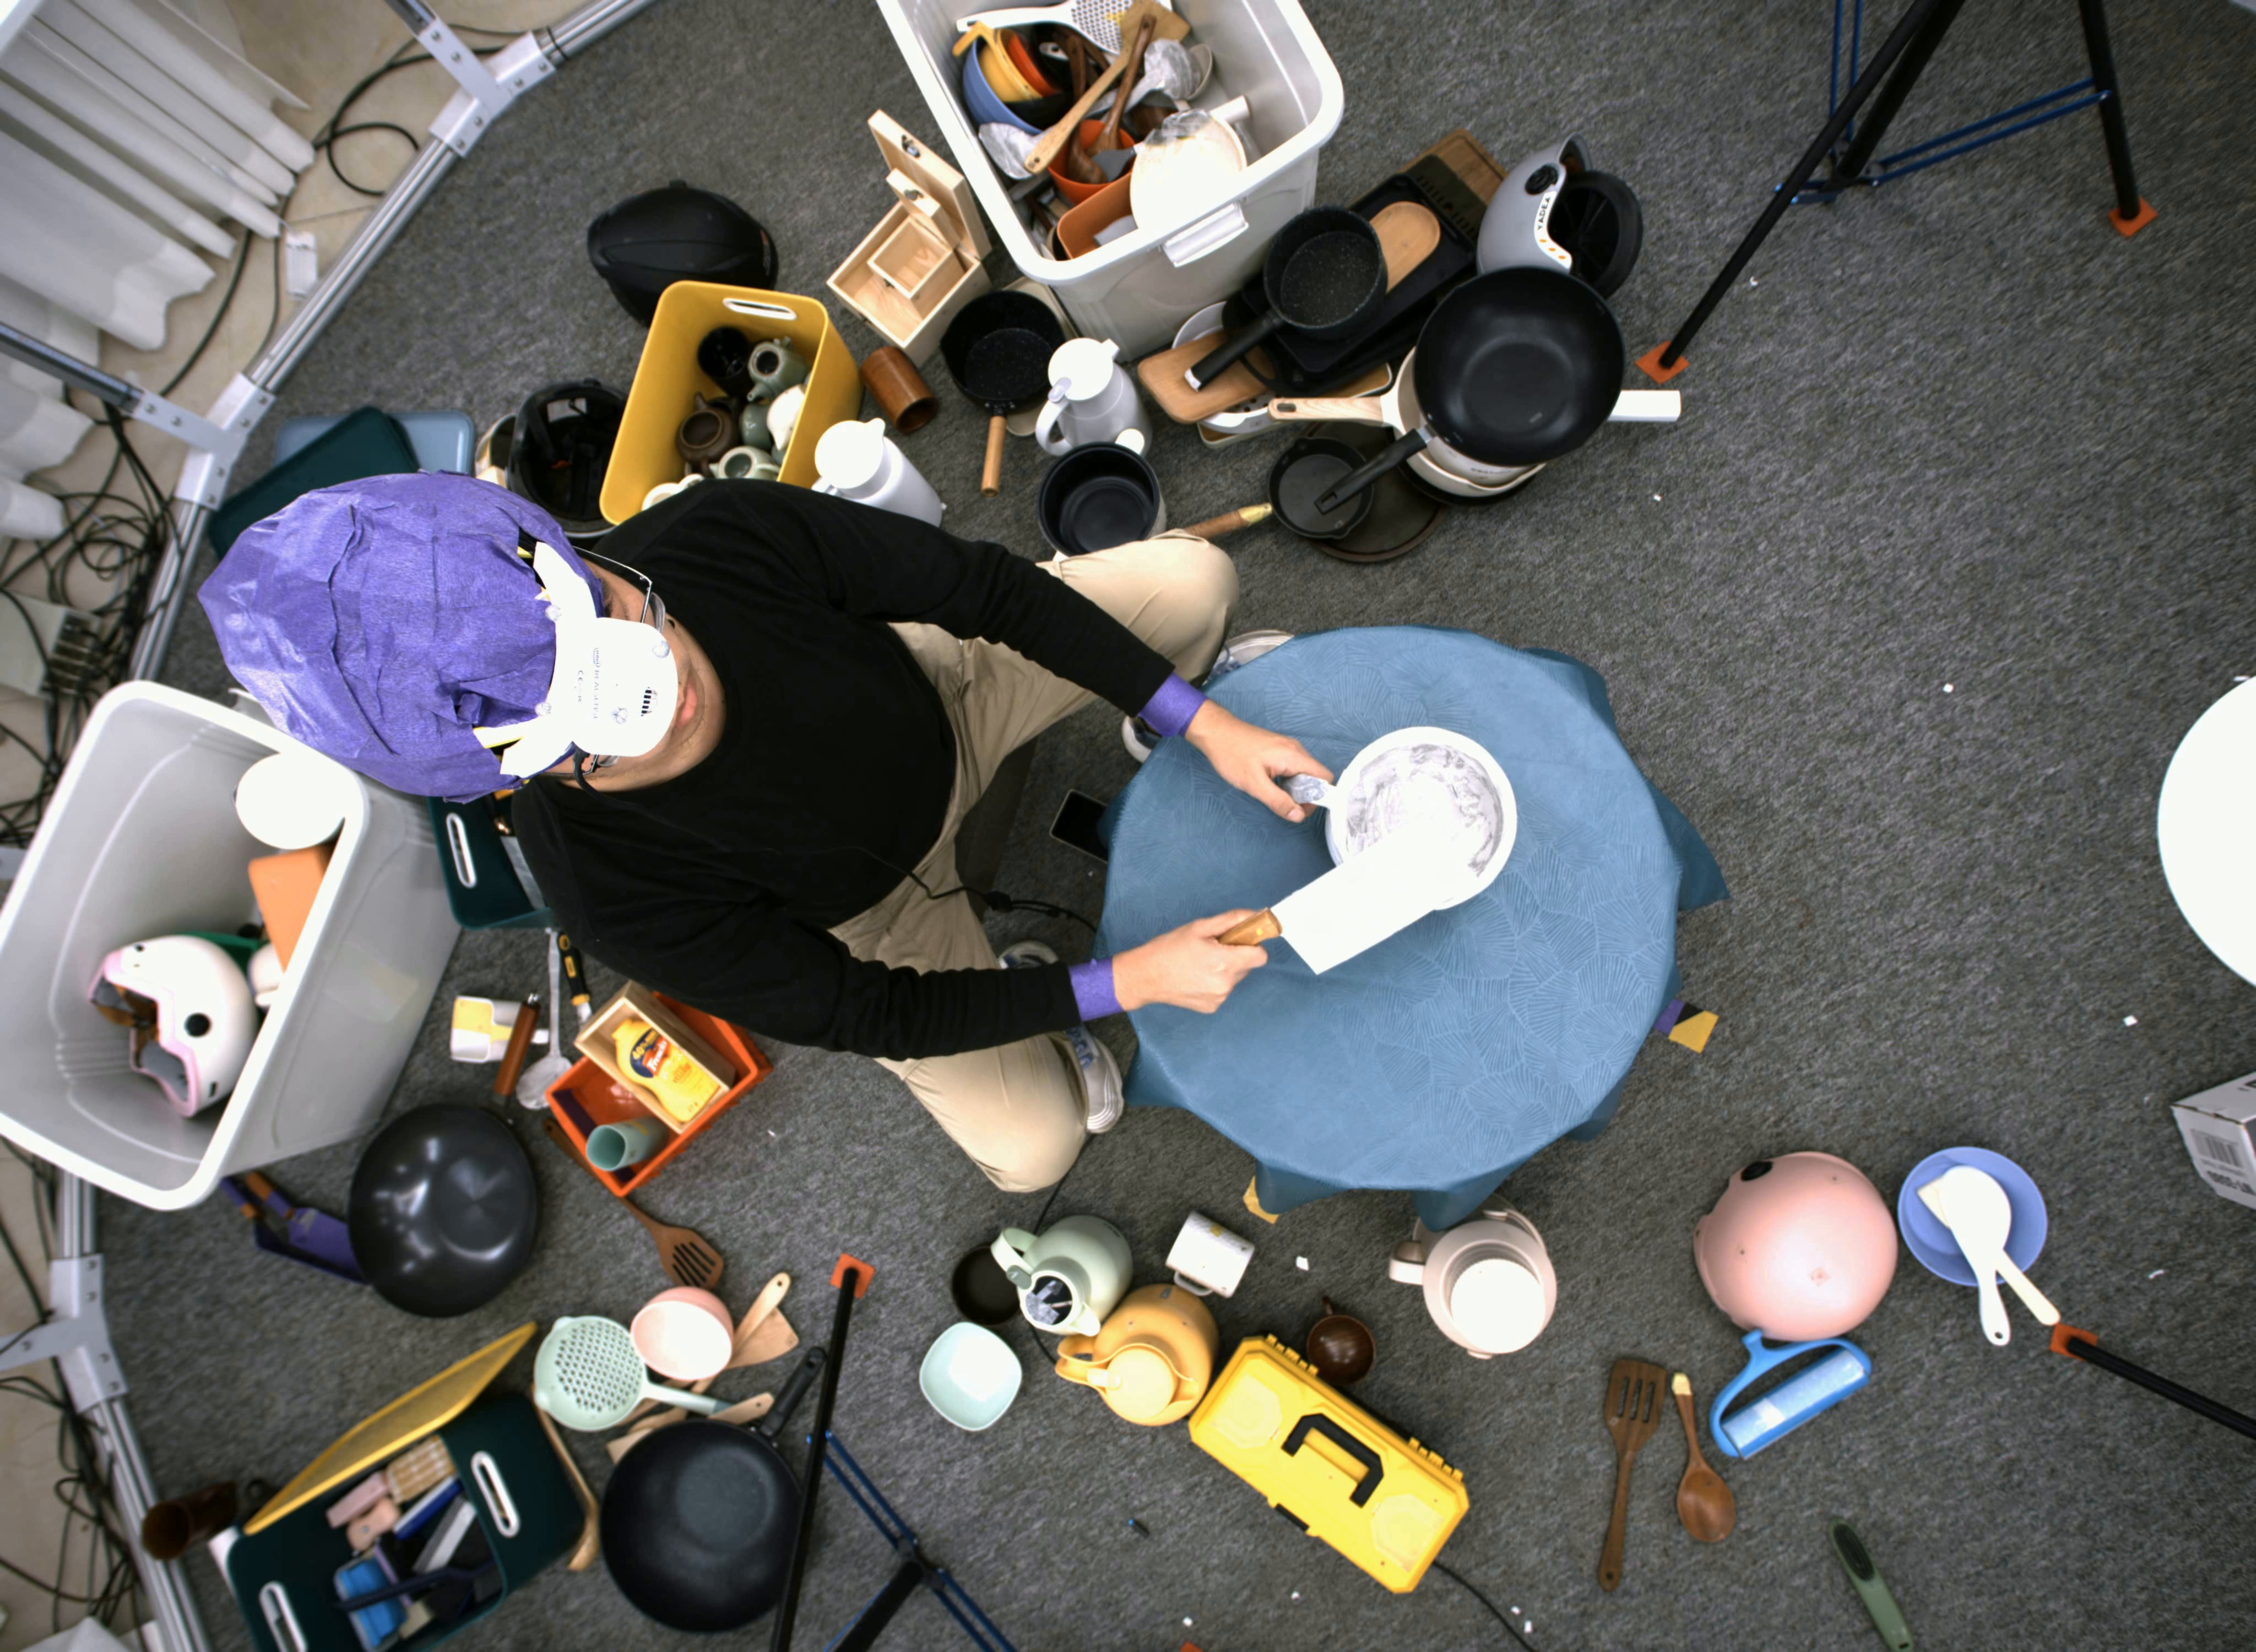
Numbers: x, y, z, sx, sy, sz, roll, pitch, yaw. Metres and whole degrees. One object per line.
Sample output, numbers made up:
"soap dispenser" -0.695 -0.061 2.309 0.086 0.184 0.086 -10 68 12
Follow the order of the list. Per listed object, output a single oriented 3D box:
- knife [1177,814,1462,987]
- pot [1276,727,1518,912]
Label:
"knife" 0.185 0.093 1.350 0.311 0.020 0.093 -34 108 29
"pot" 0.264 -0.010 1.388 0.234 0.137 0.178 14 88 5
